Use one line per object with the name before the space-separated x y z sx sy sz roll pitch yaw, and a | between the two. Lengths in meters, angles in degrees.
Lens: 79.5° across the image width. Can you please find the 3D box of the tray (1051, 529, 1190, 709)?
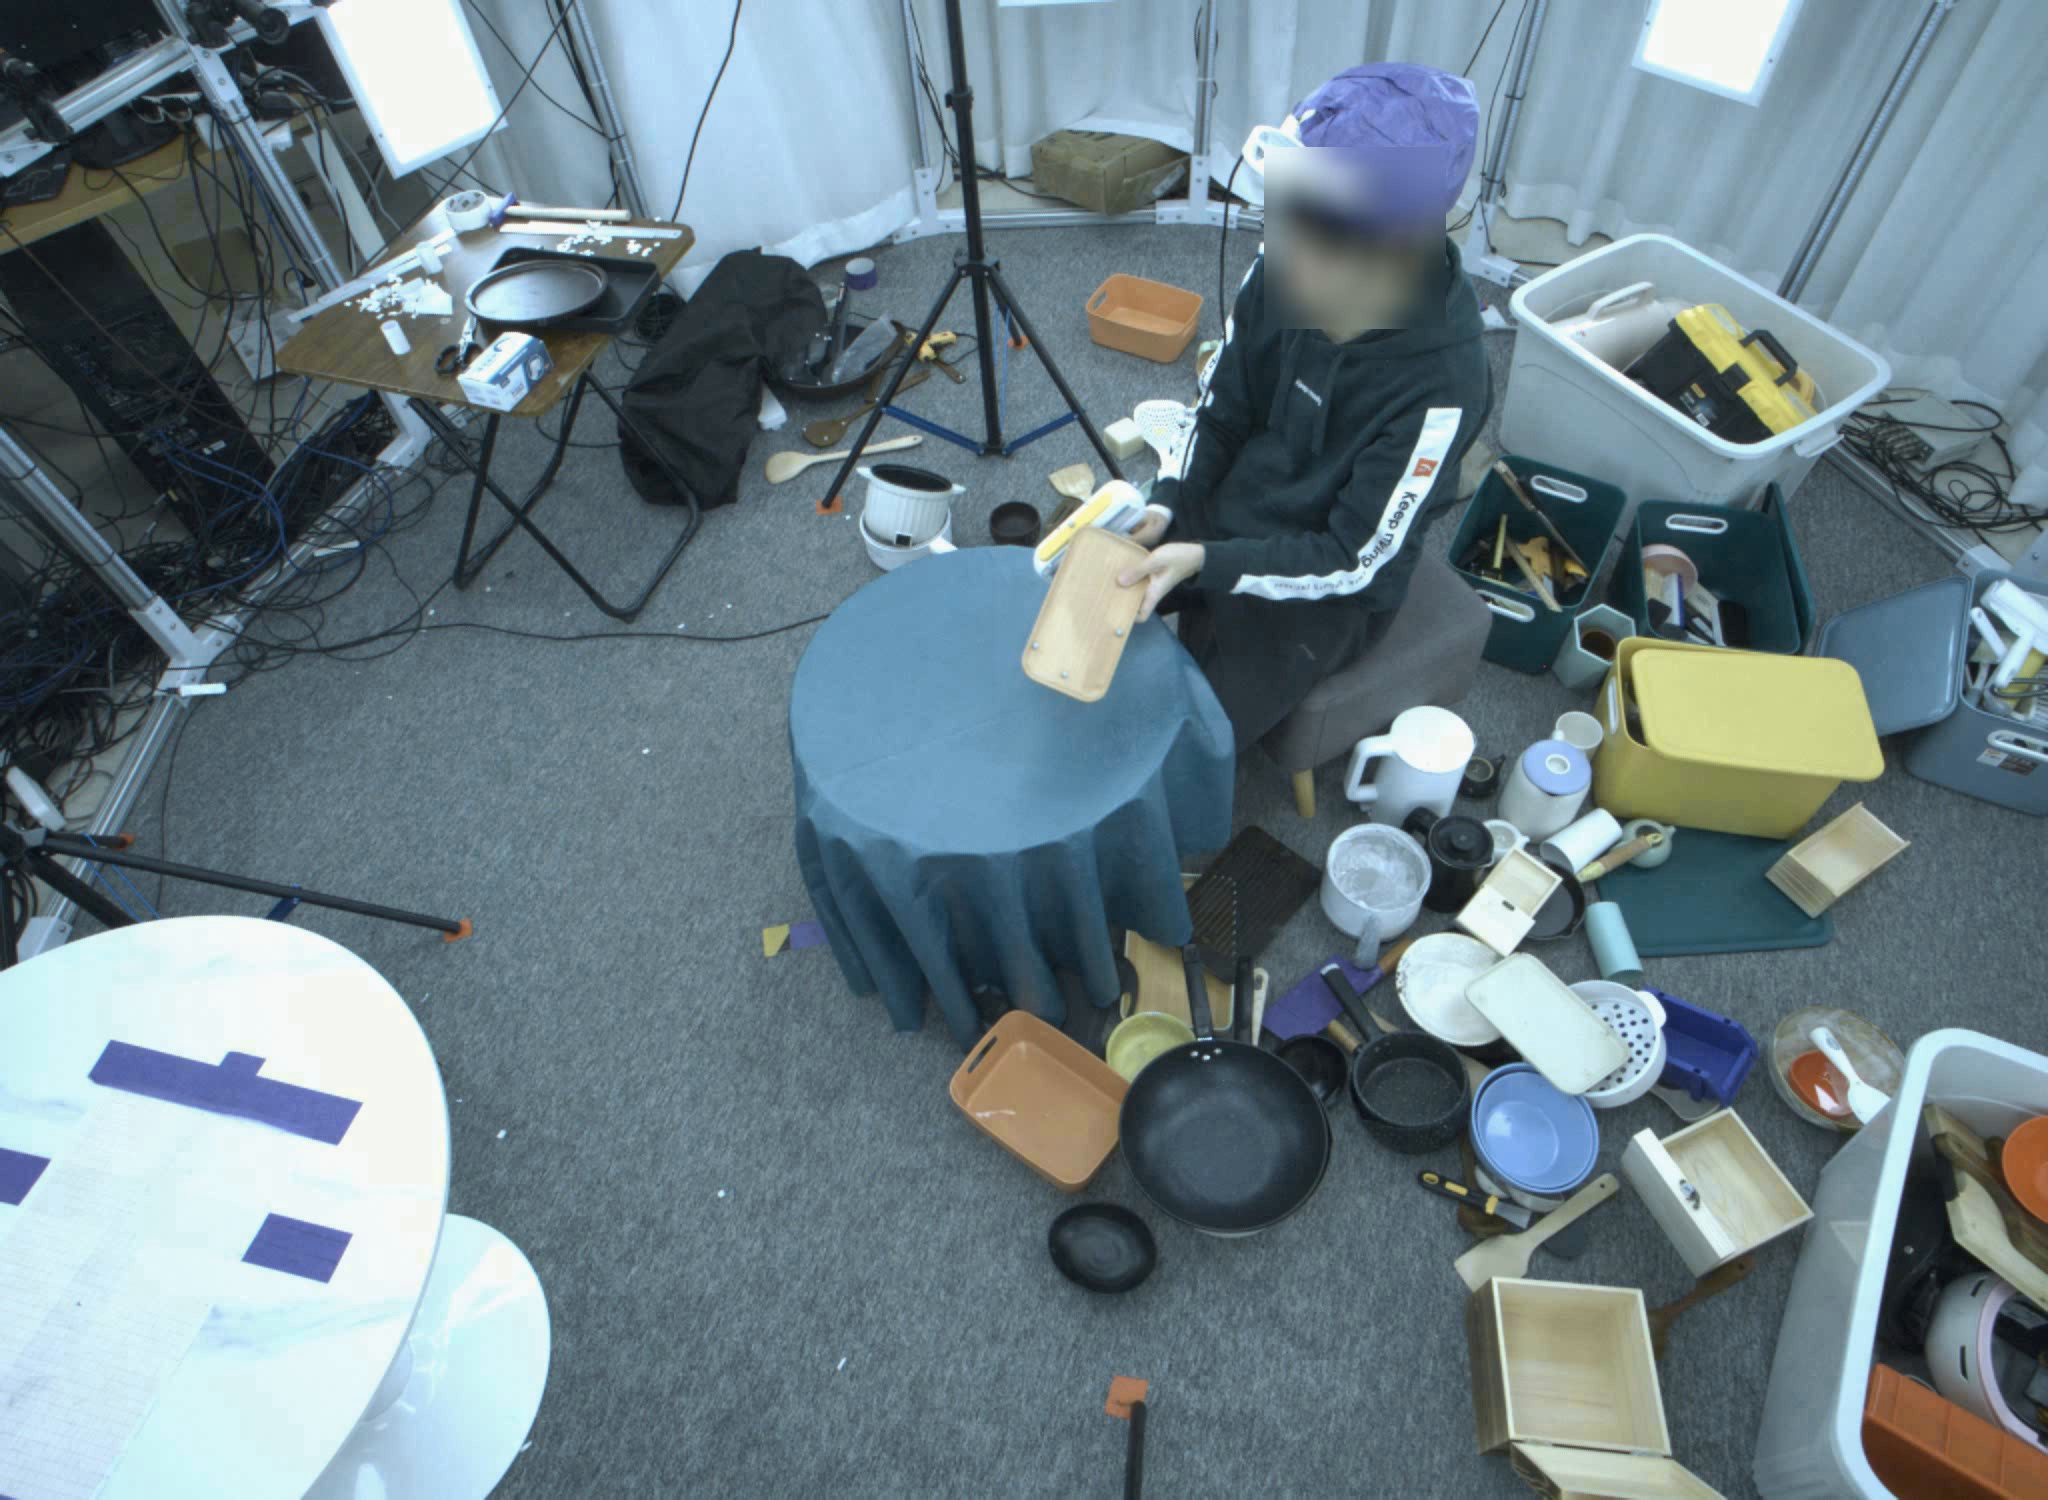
tray | 0.134 -0.183 1.705 0.131 0.023 0.250 27 74 -8

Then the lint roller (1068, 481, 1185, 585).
lint roller | 0.175 -0.306 1.819 0.191 0.197 0.073 -41 59 21
